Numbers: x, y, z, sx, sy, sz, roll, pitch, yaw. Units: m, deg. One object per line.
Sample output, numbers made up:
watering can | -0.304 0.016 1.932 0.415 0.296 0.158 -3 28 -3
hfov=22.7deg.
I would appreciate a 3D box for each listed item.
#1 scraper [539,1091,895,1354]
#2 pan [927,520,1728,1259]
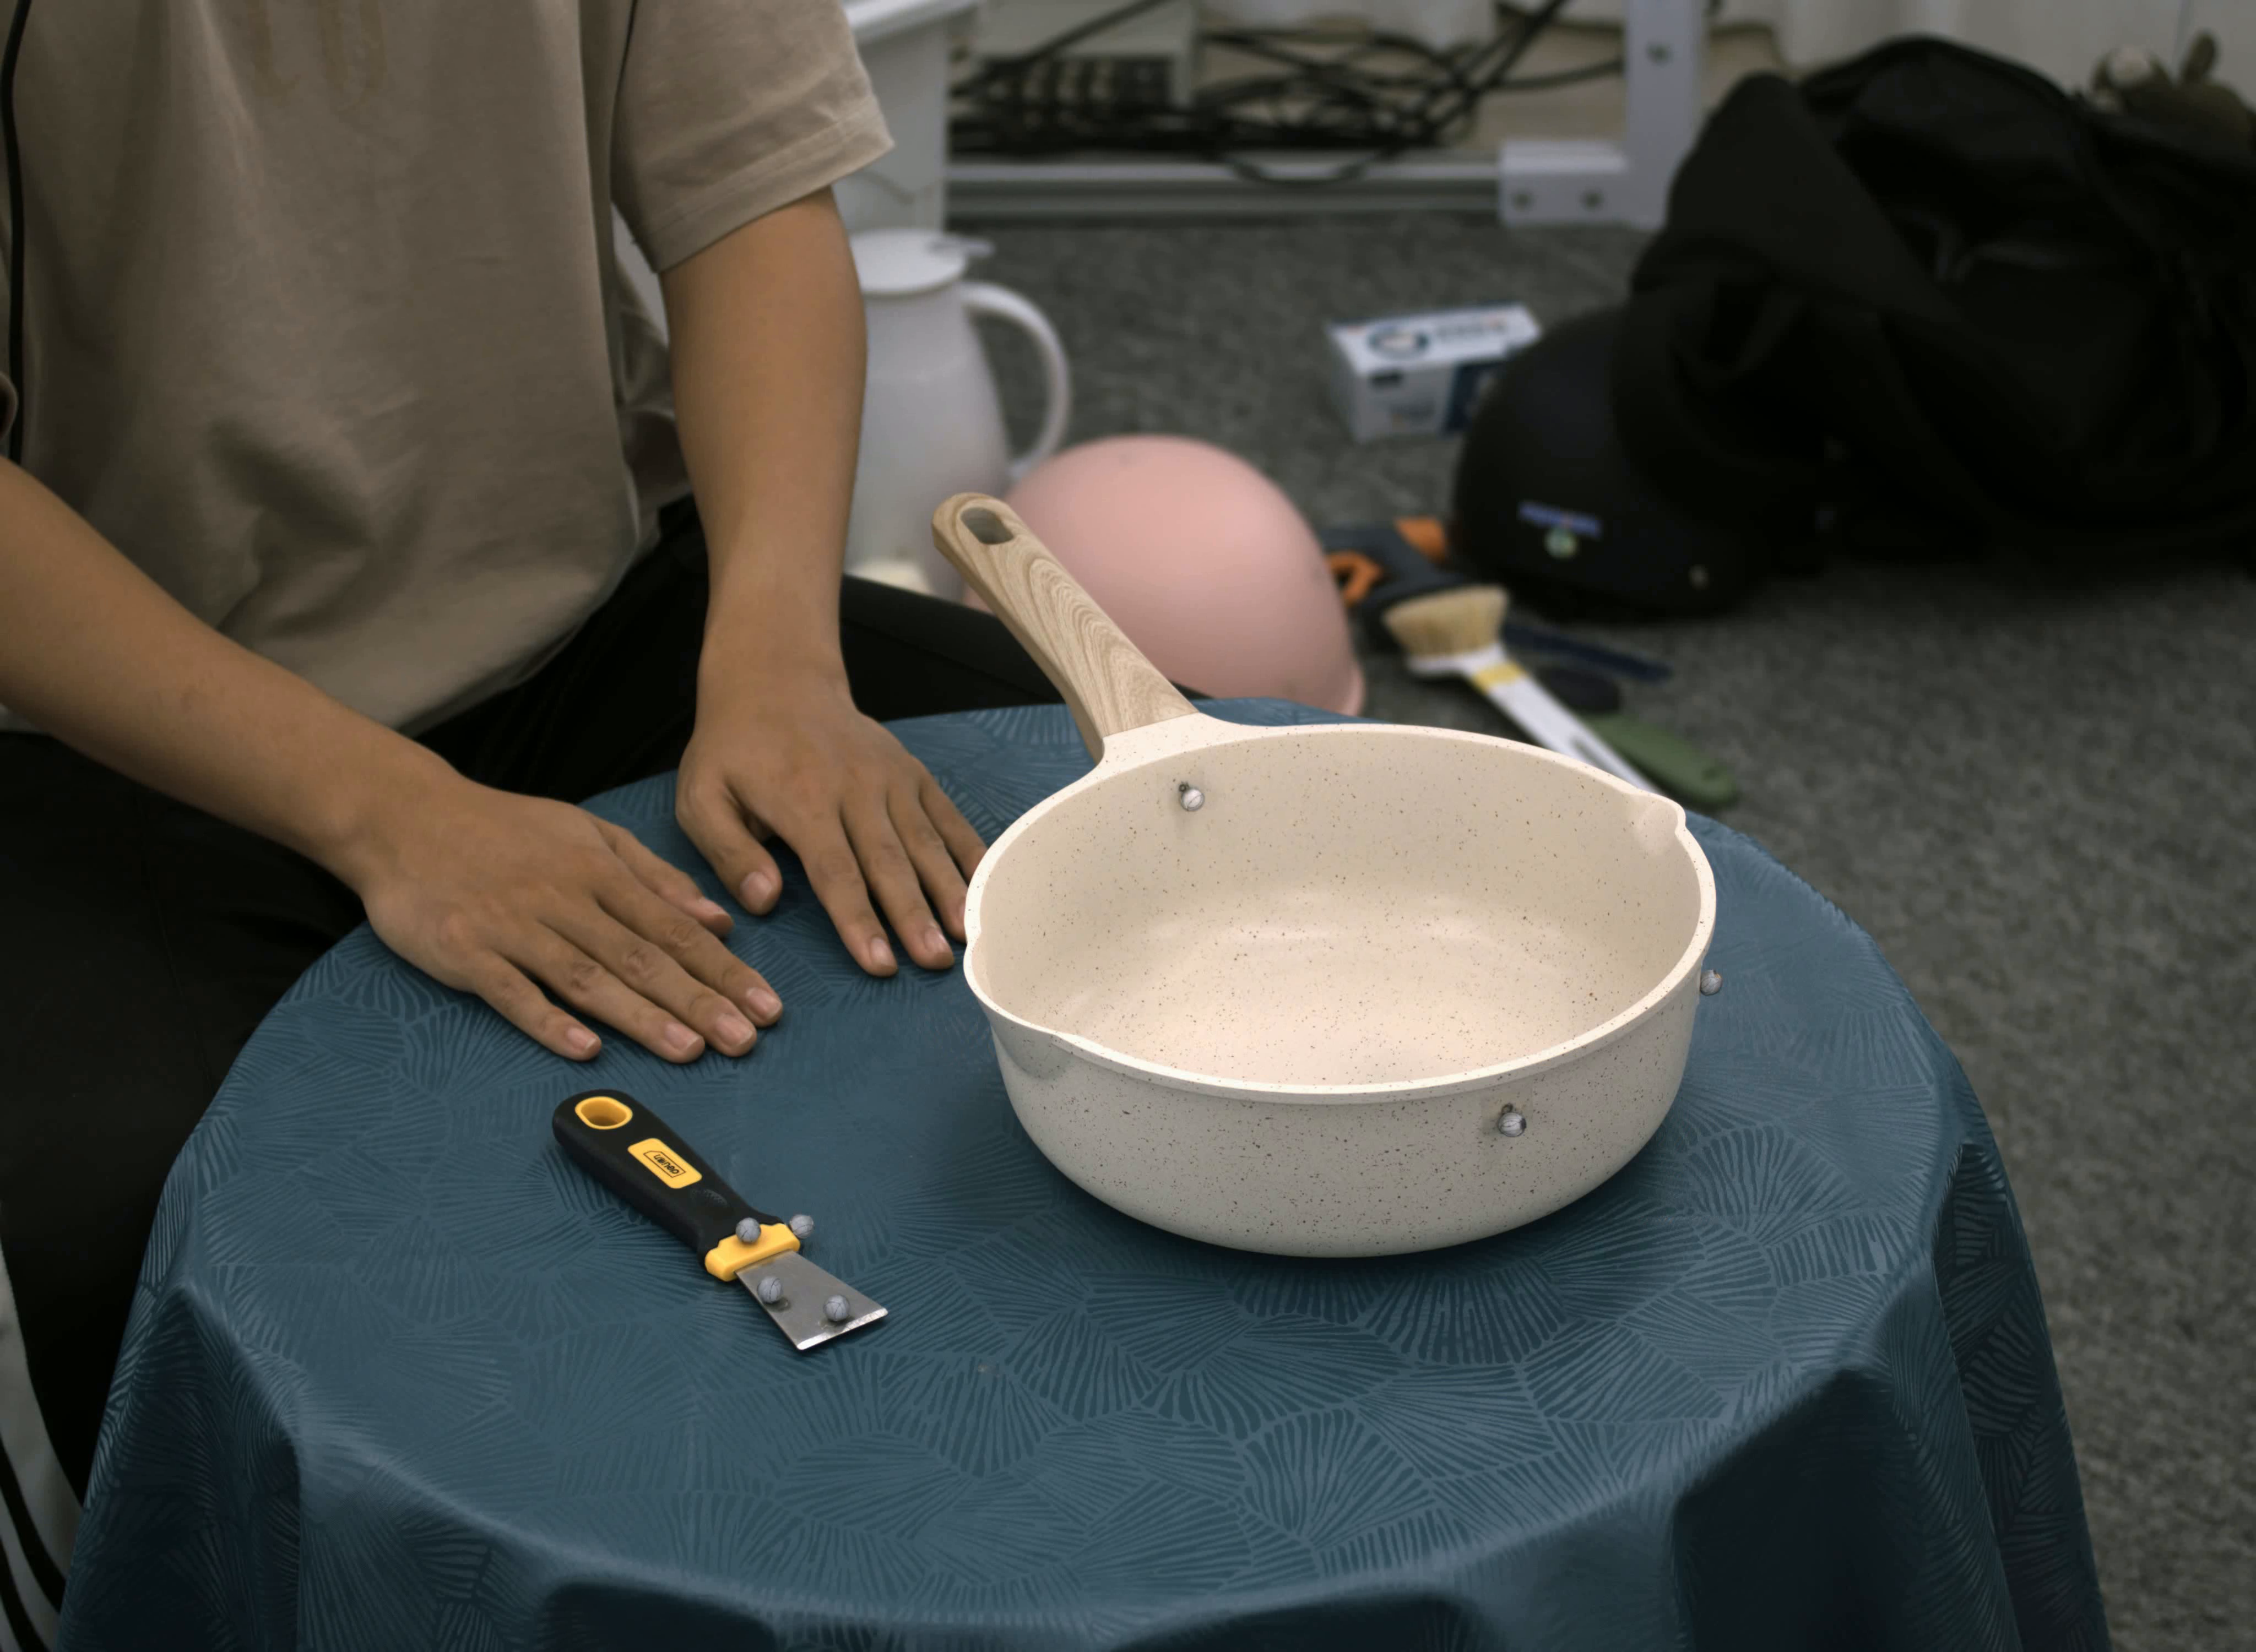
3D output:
scraper | -0.140 0.129 1.843 0.039 0.015 0.171 -28 38 -28
pan | 0.036 0.015 1.963 0.264 0.101 0.437 -17 30 -21
